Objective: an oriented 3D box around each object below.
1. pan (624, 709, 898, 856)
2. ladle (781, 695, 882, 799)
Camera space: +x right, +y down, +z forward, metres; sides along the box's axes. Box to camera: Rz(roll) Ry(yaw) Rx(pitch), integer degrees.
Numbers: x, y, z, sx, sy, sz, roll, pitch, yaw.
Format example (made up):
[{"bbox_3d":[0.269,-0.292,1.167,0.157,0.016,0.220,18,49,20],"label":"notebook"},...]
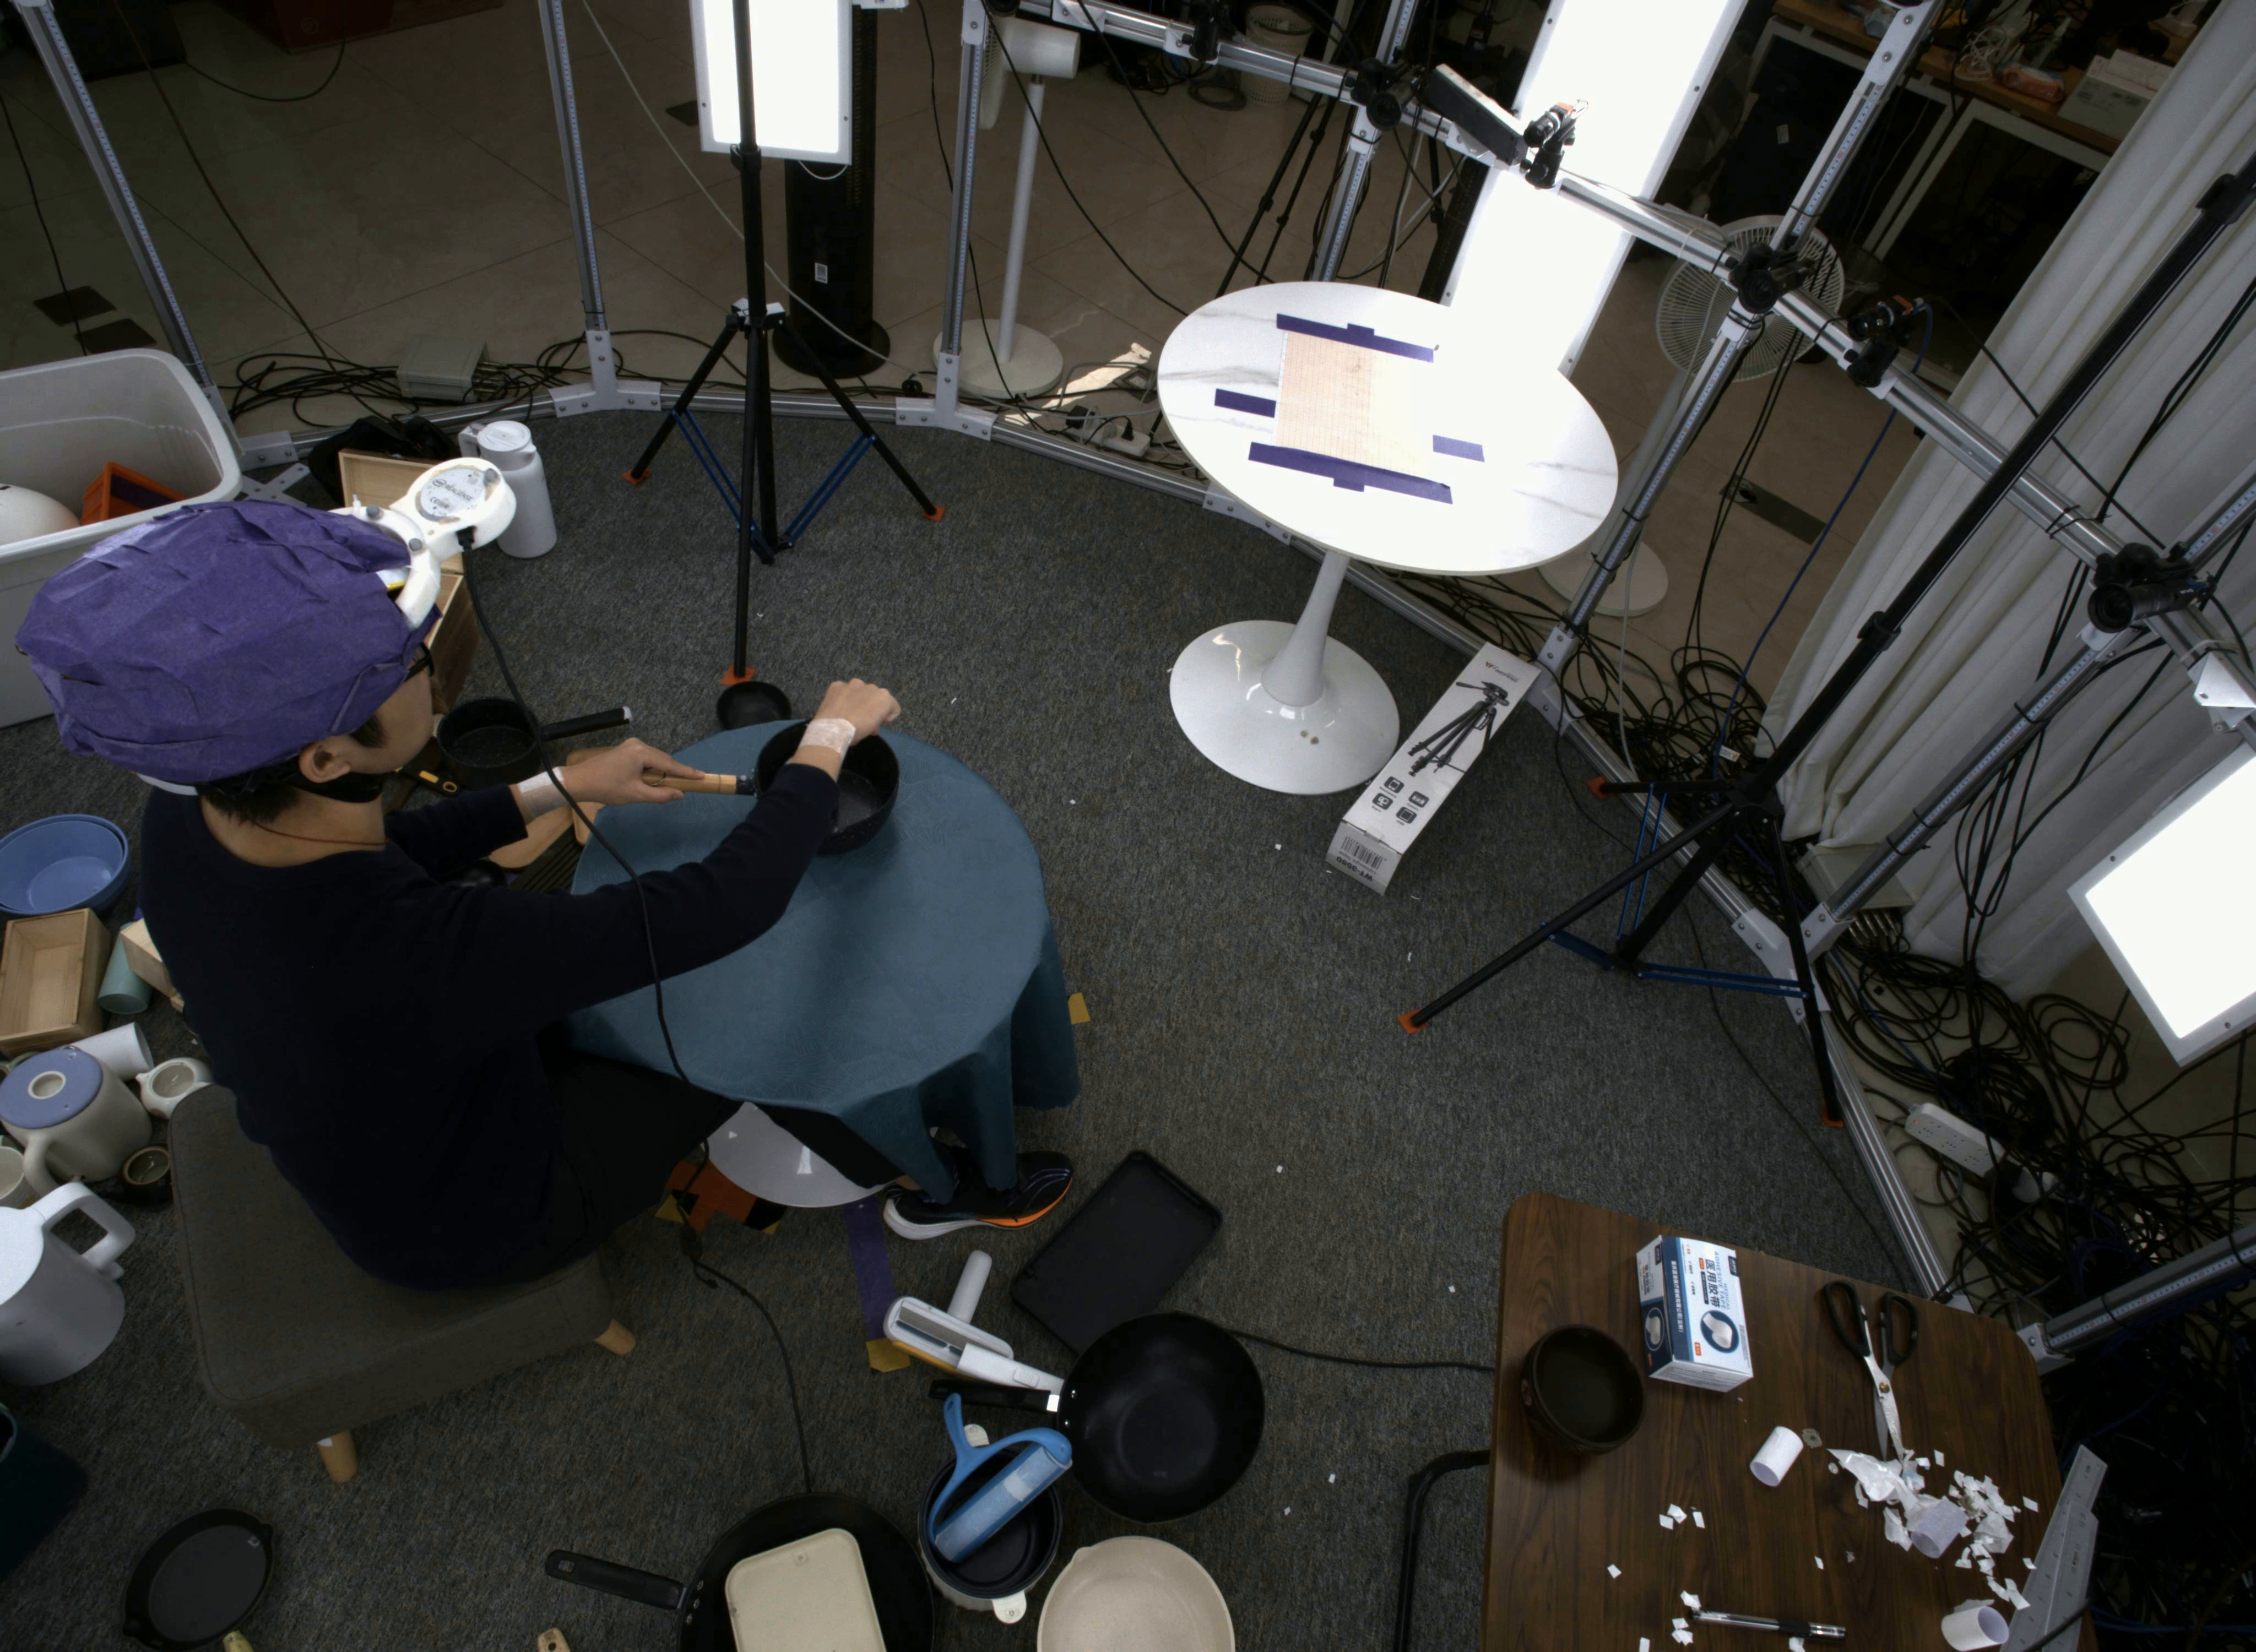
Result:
[{"bbox_3d":[-0.469,-0.047,1.667,0.344,0.110,0.203,-5,56,-20],"label":"pan"},{"bbox_3d":[-0.372,-0.115,1.618,0.070,0.274,0.089,39,55,-5],"label":"ladle"}]
